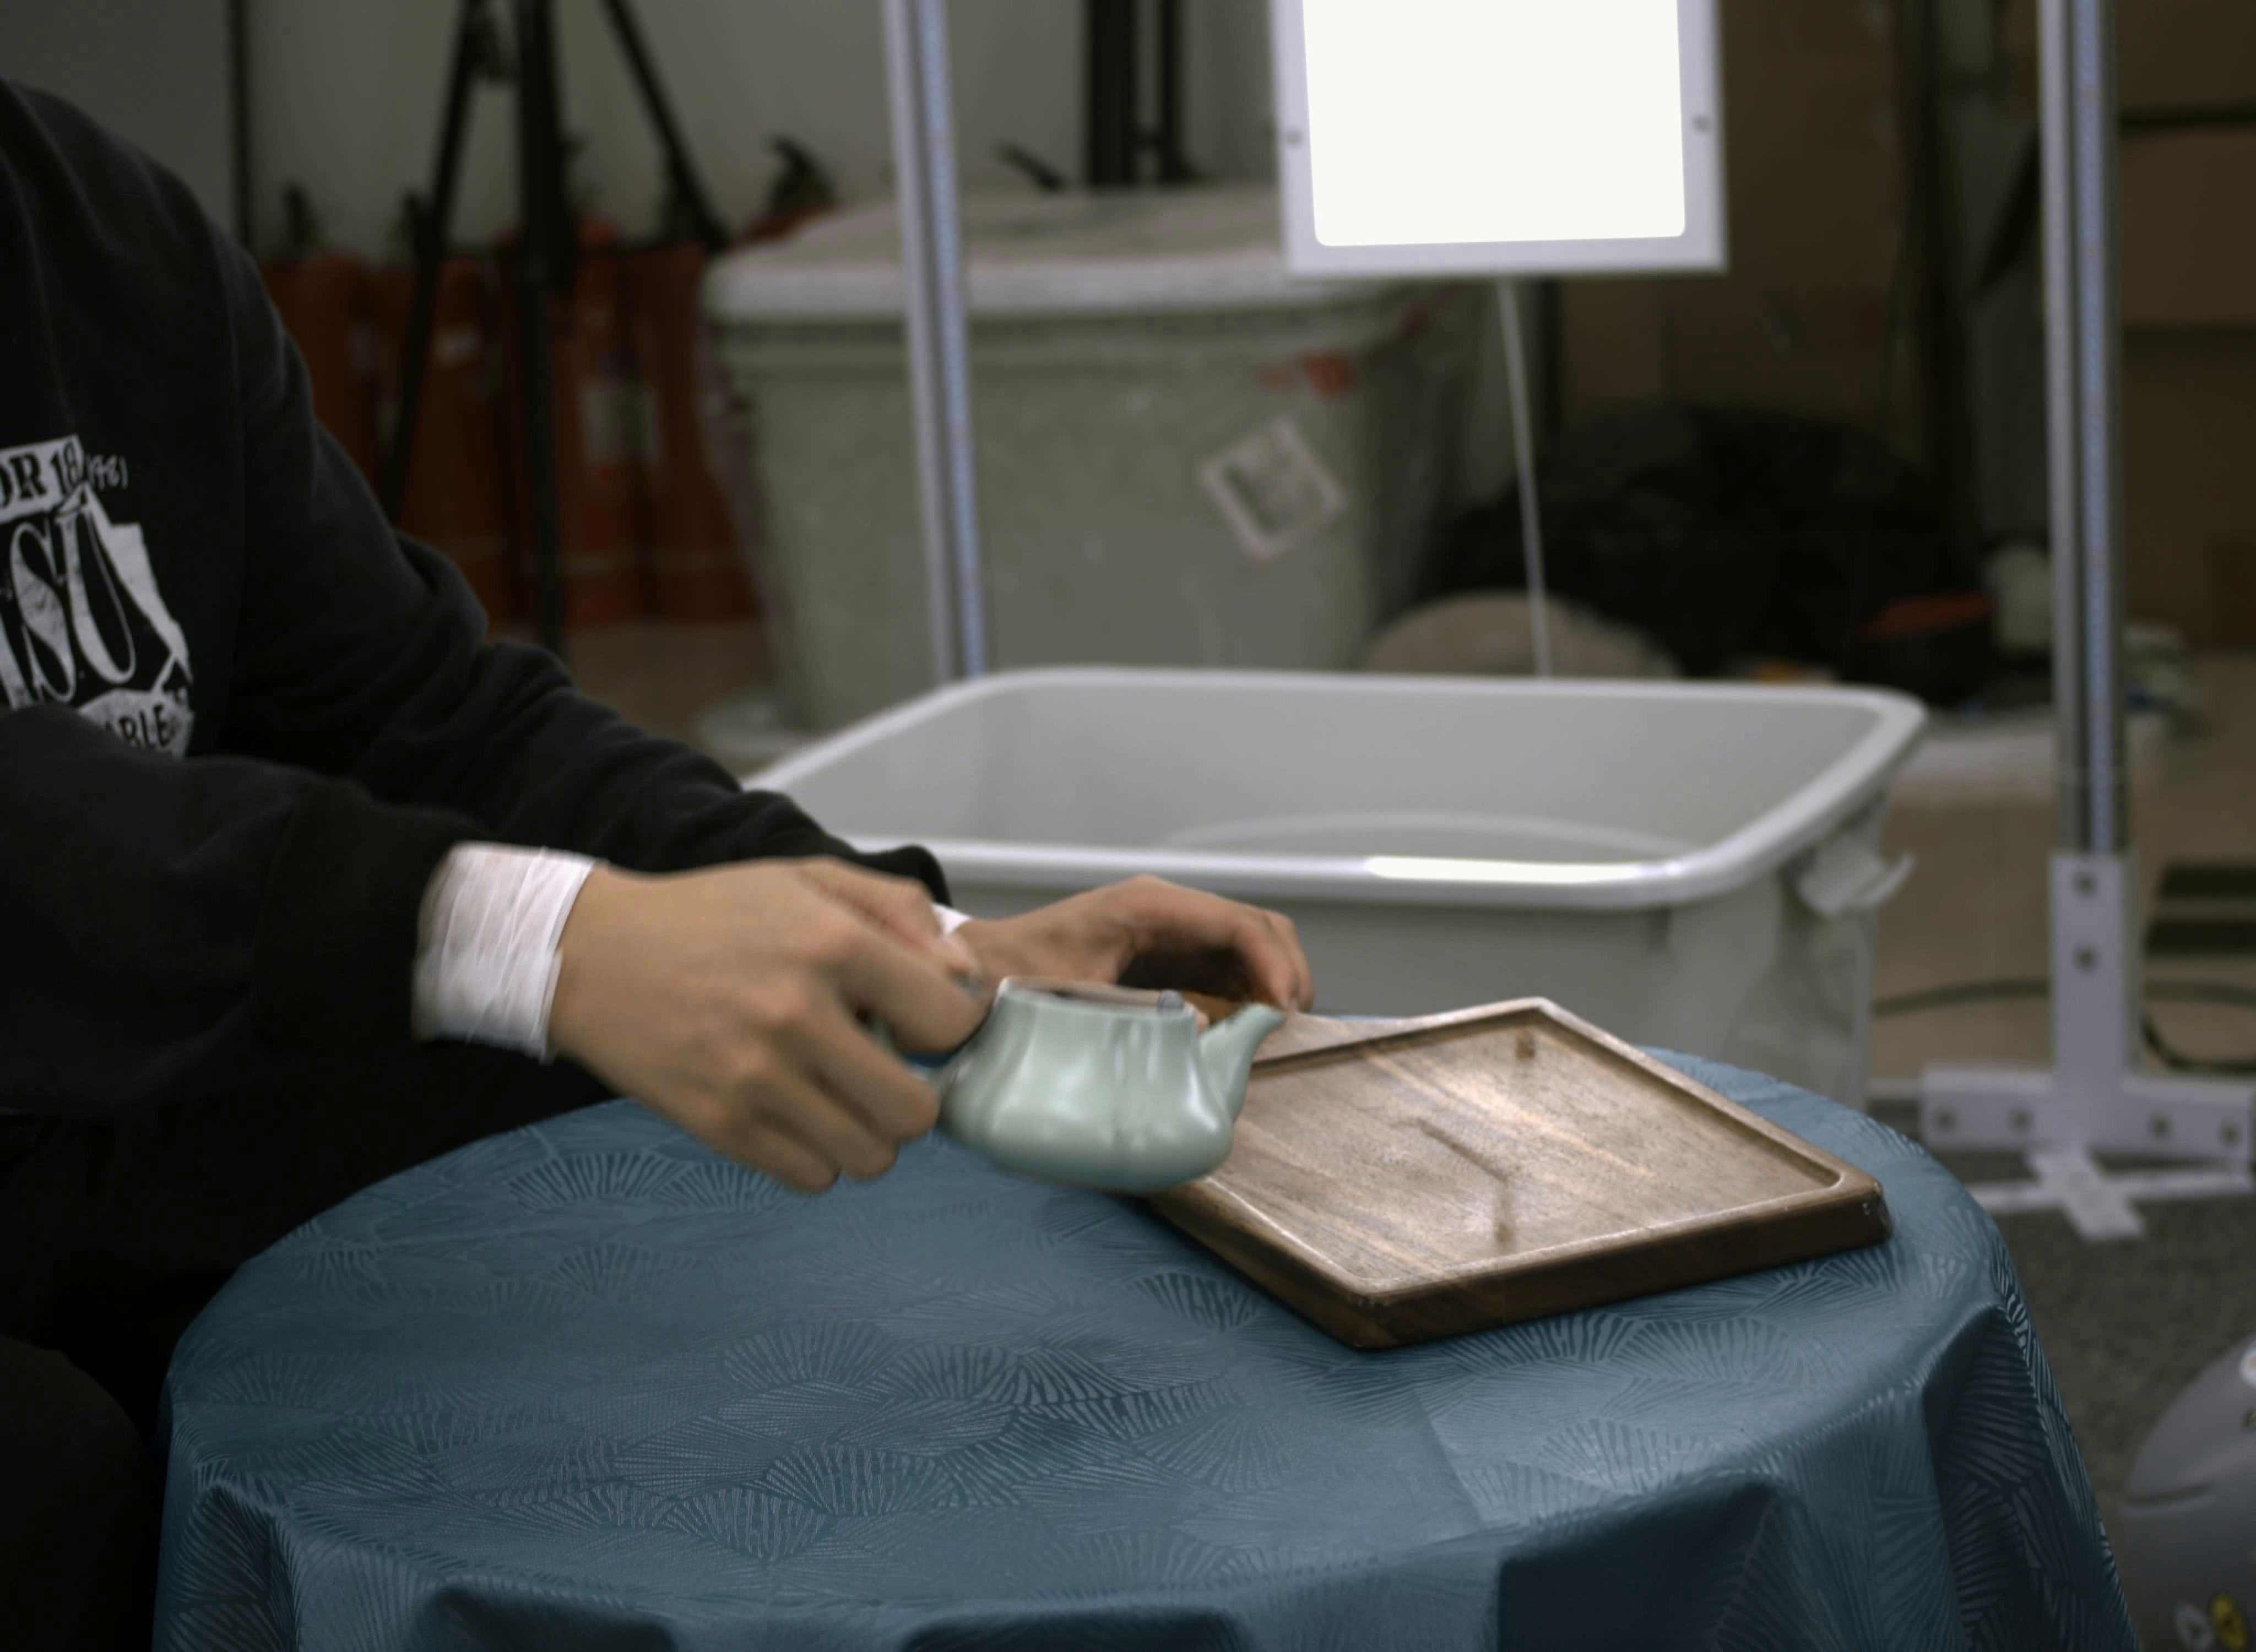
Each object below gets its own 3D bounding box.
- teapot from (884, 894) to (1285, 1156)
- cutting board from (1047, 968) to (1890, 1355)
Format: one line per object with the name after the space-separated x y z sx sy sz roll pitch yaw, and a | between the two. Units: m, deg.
-0.015 0.065 1.697 0.134 0.061 0.098 17 -15 -21 | teapot
0.090 0.102 1.896 0.197 0.023 0.357 -11 17 -22 | cutting board
